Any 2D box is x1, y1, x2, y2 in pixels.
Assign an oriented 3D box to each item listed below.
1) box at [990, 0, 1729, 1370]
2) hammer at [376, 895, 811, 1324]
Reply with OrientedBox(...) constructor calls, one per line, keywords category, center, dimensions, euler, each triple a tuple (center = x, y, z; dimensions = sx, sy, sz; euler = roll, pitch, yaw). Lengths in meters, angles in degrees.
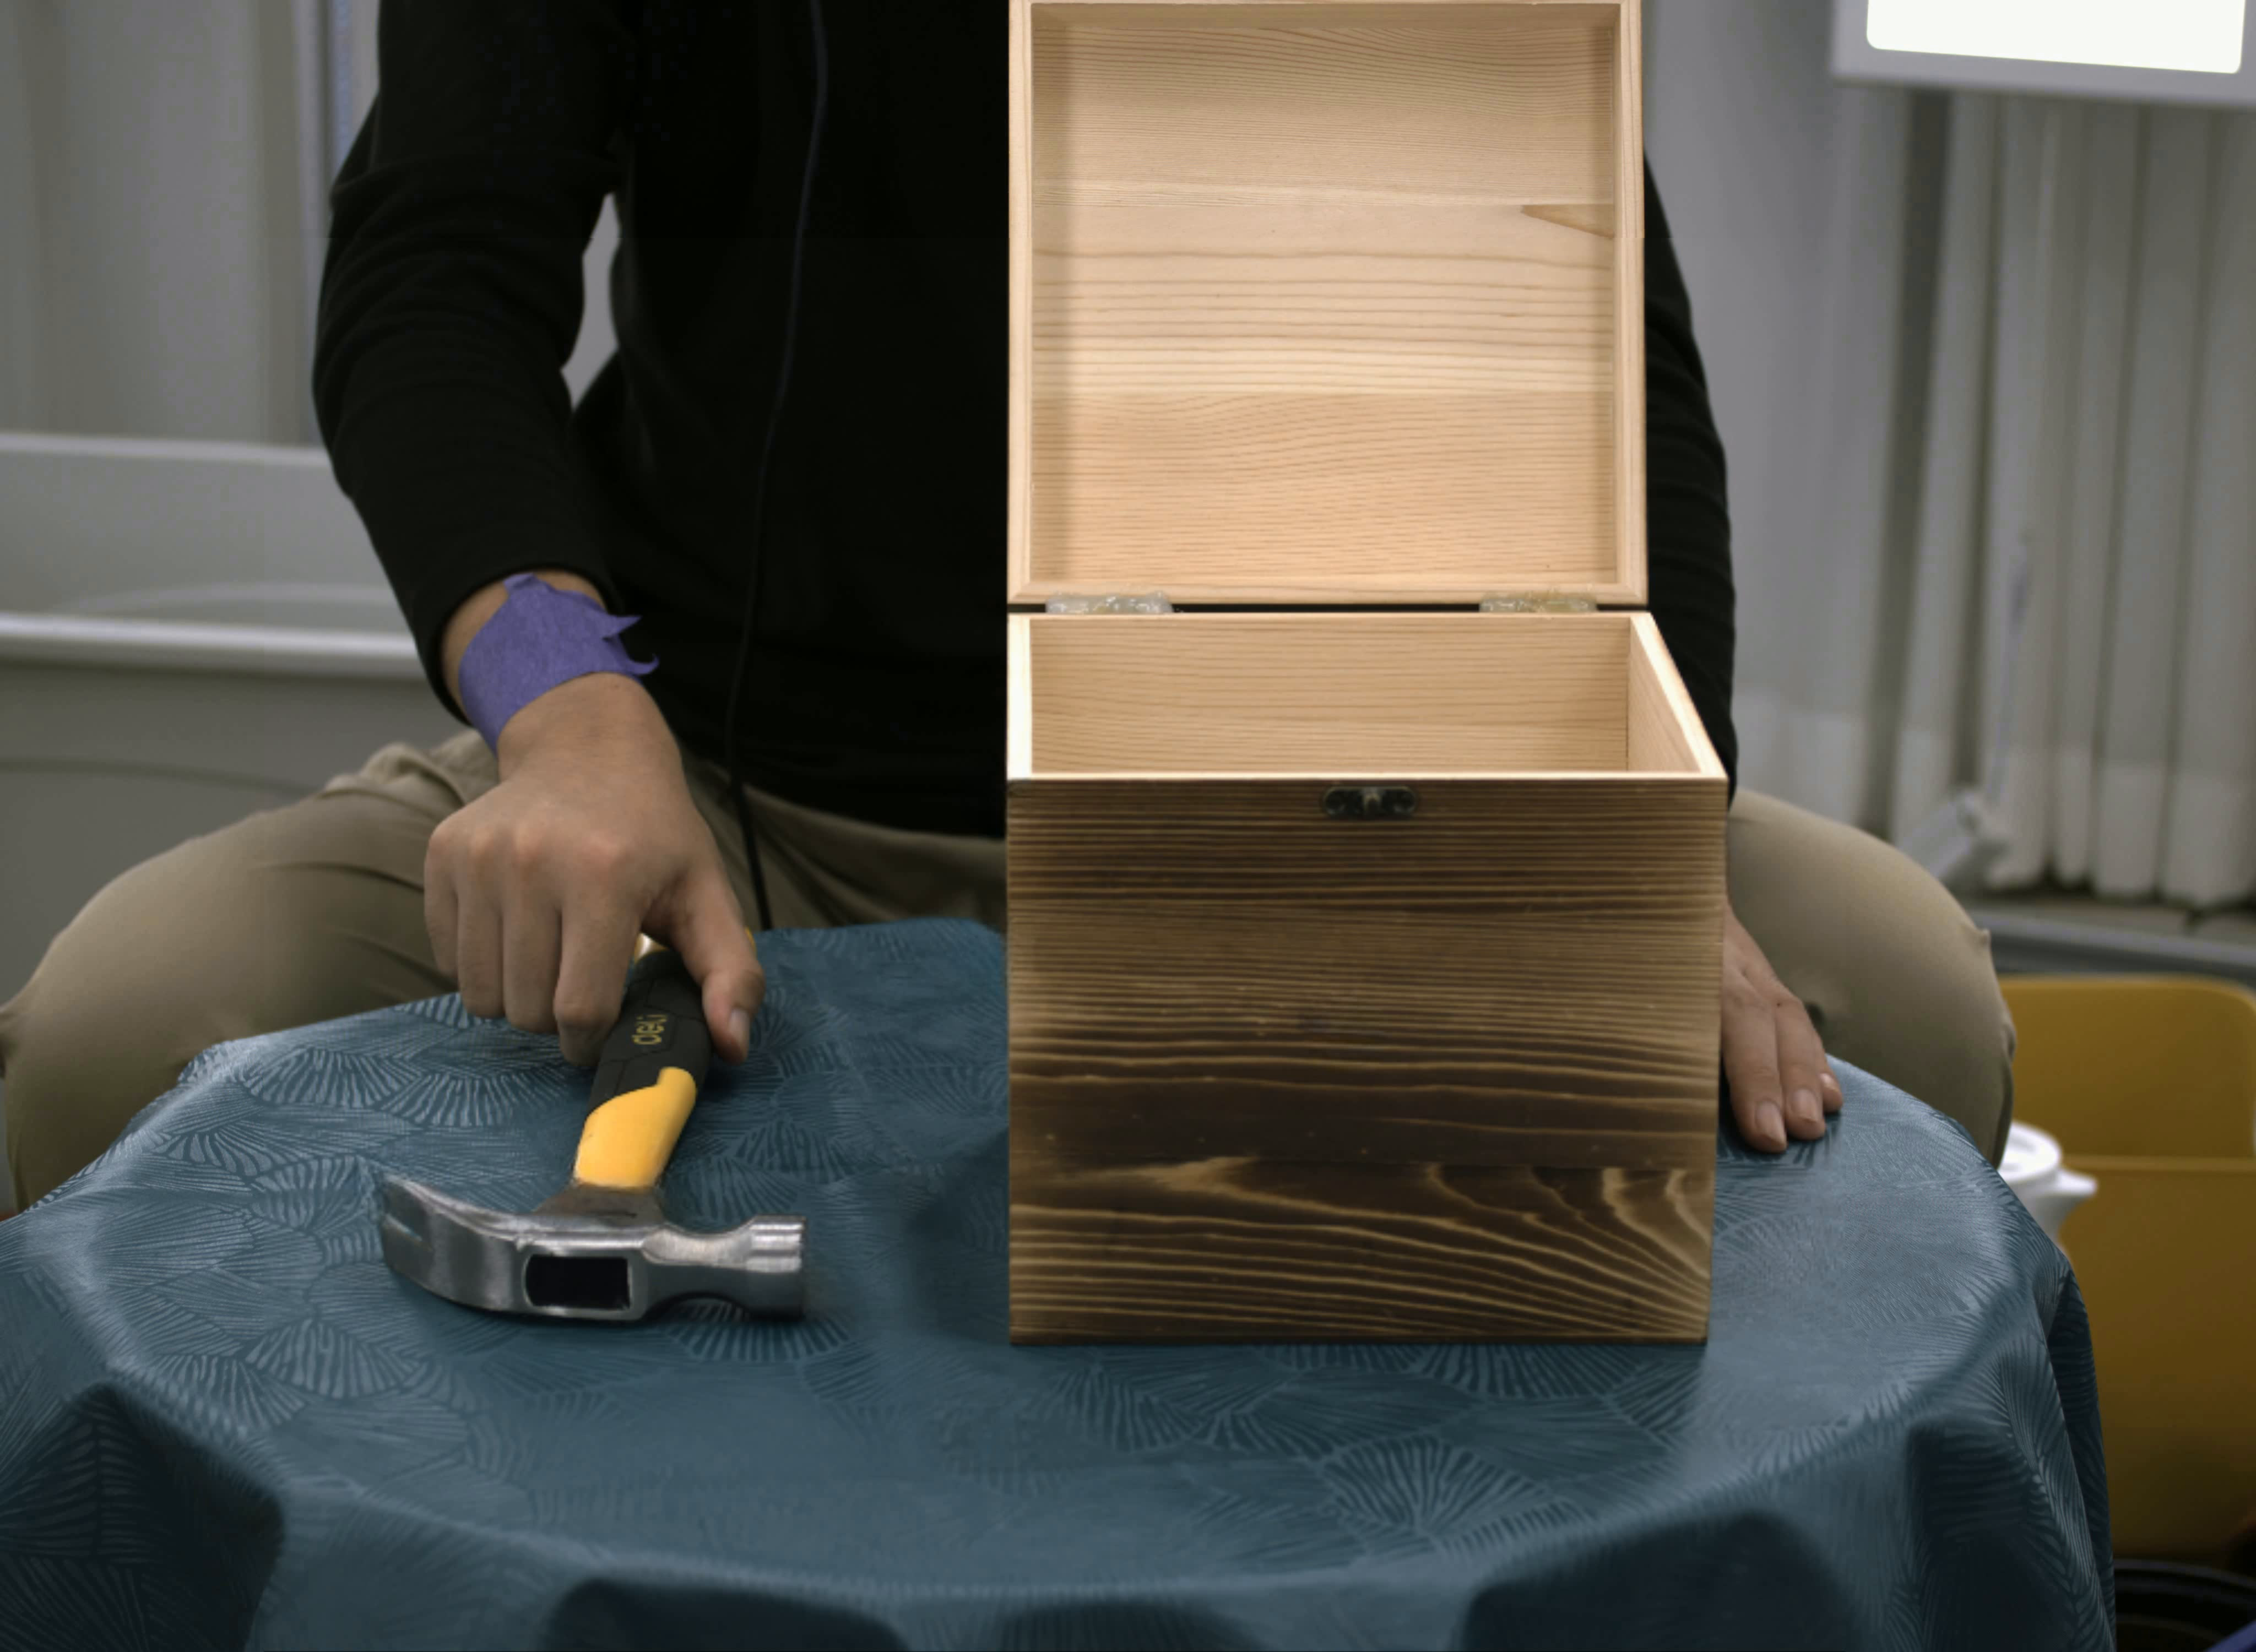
OrientedBox(category="box", center=(0.063, -0.064, 1.591), dimensions=(0.208, 0.378, 0.320), euler=(-1, 15, -1))
OrientedBox(category="hammer", center=(-0.152, 0.082, 1.659), dimensions=(0.131, 0.032, 0.337), euler=(1, 17, 1))
